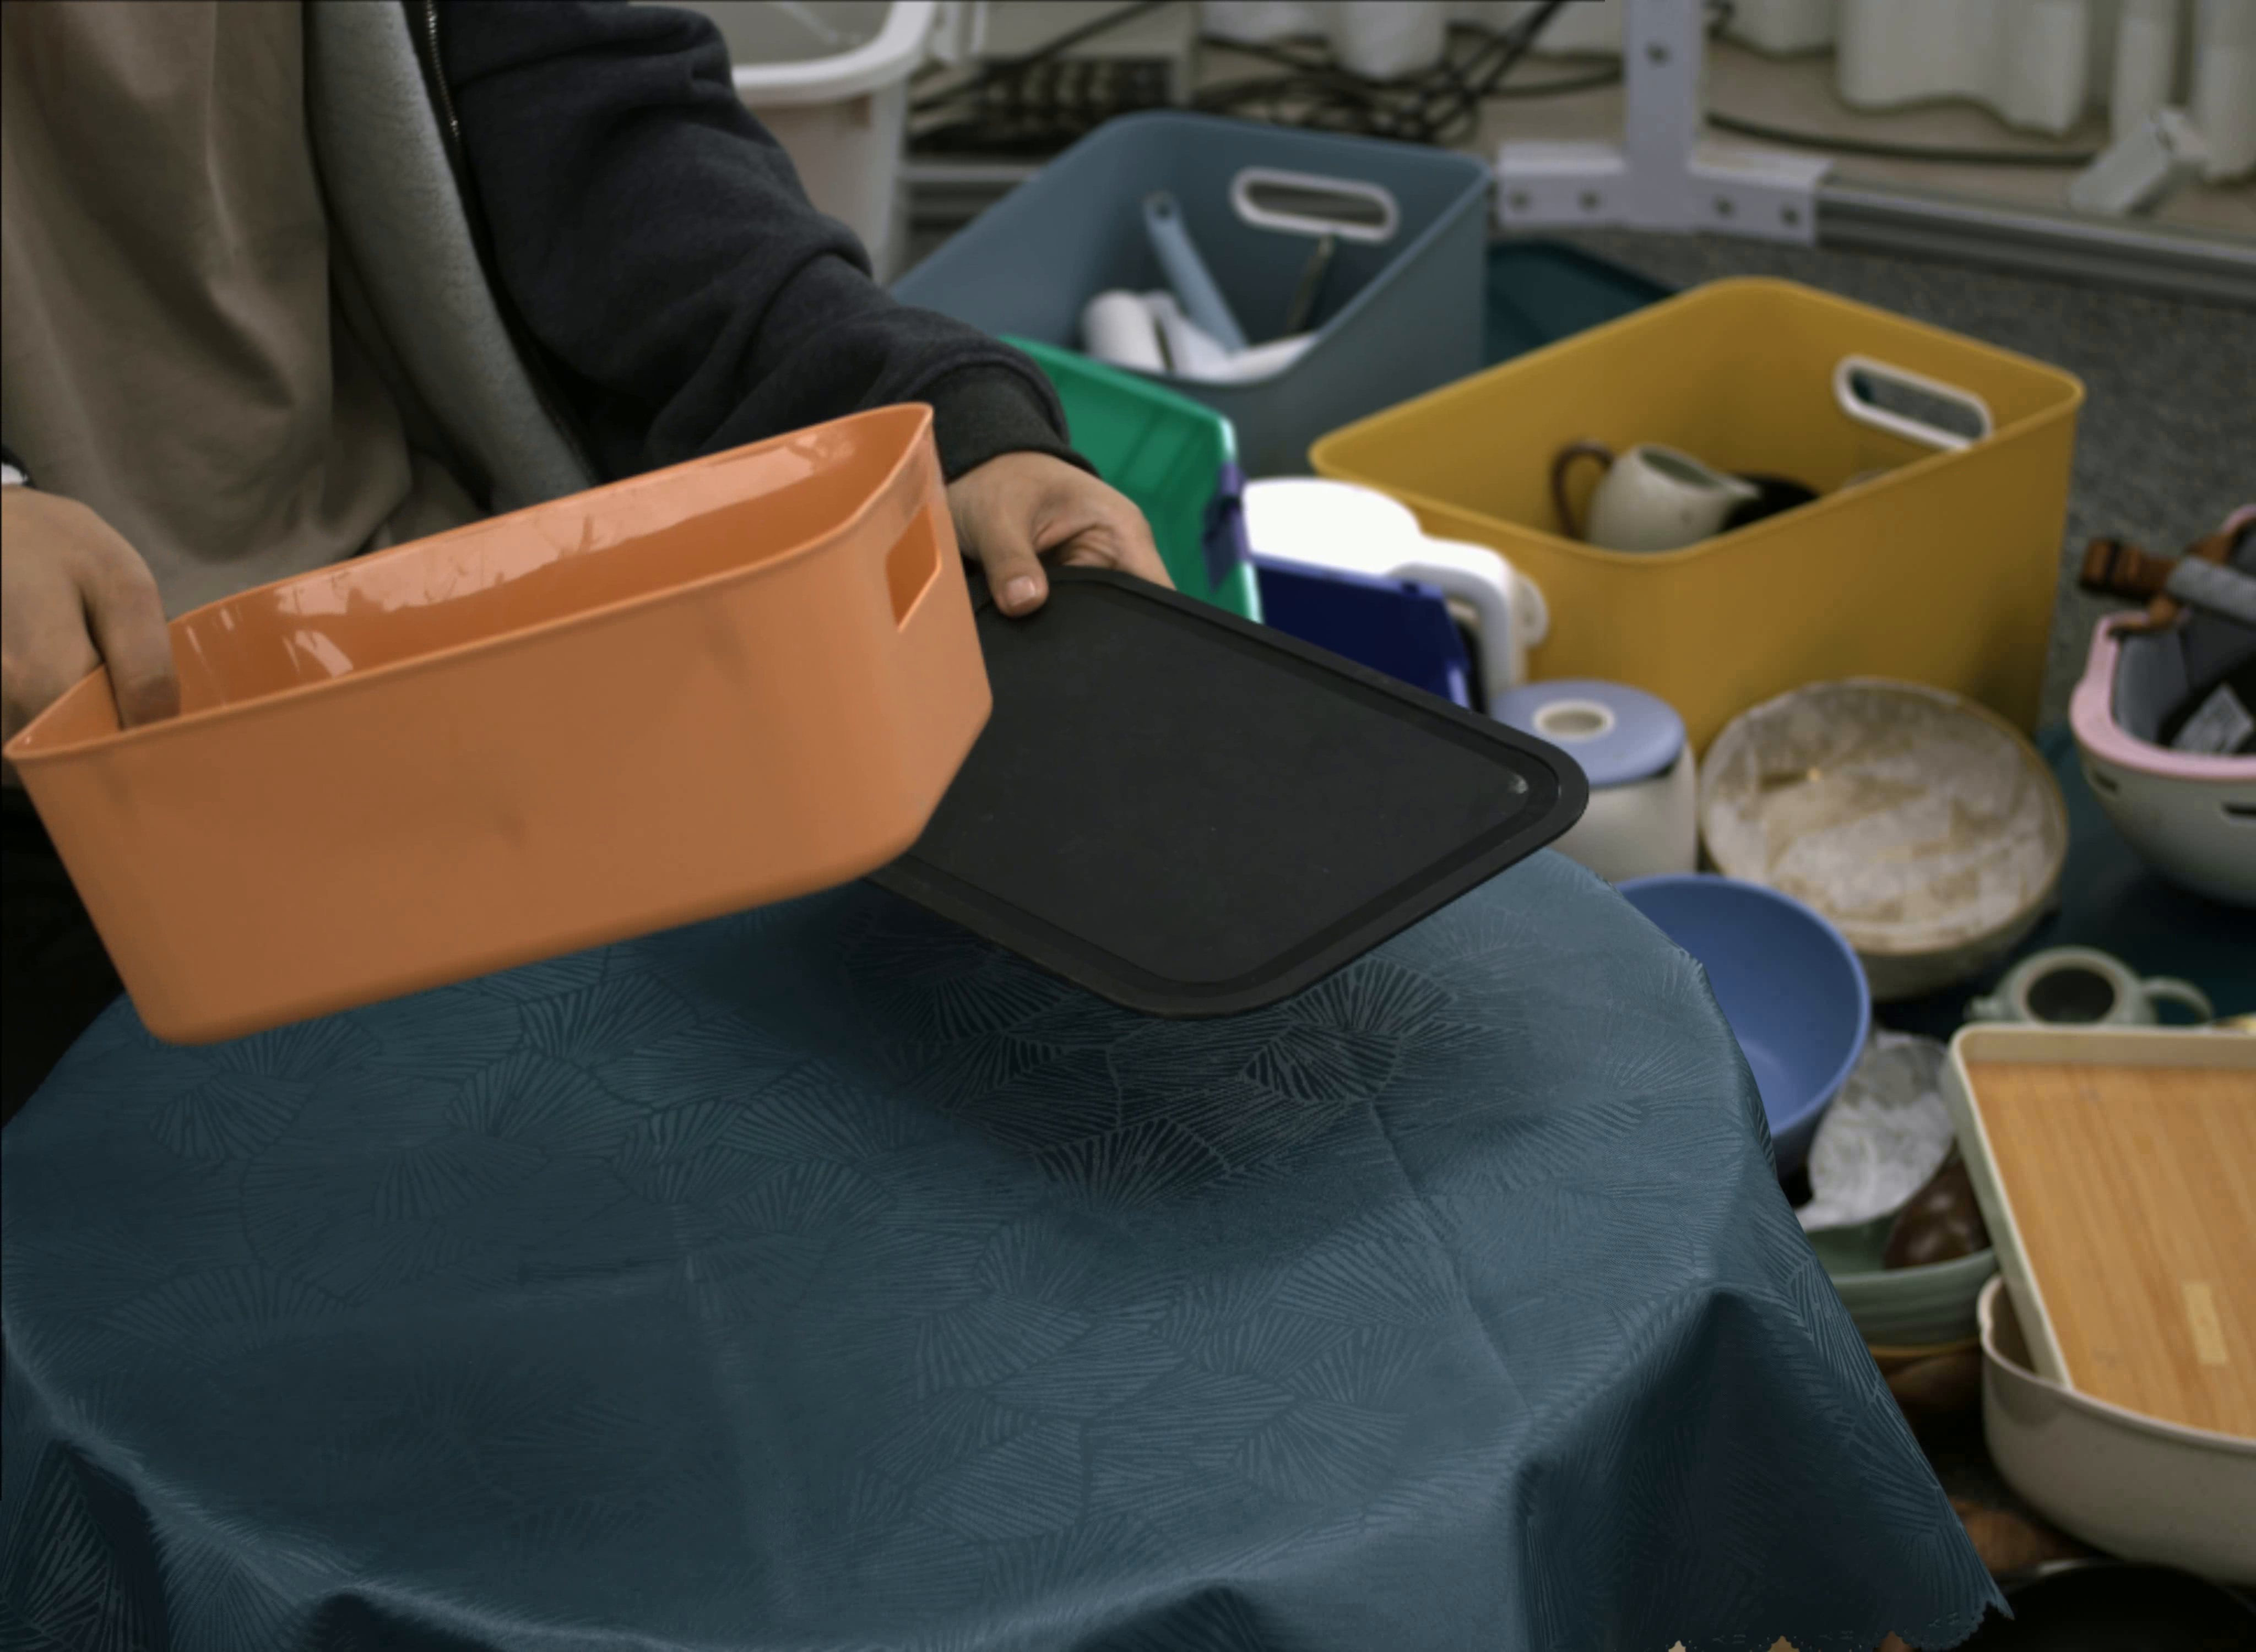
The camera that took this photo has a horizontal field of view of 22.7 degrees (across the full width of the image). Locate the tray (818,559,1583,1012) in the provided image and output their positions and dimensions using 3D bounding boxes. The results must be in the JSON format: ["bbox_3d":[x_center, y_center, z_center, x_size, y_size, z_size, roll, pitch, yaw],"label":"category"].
[{"bbox_3d":[-0.012,-0.023,1.964,0.213,0.009,0.325,-29,37,-34],"label":"tray"}]

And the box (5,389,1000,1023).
[{"bbox_3d":[-0.176,-0.035,1.680,0.271,0.102,0.202,-14,15,12],"label":"box"}]
